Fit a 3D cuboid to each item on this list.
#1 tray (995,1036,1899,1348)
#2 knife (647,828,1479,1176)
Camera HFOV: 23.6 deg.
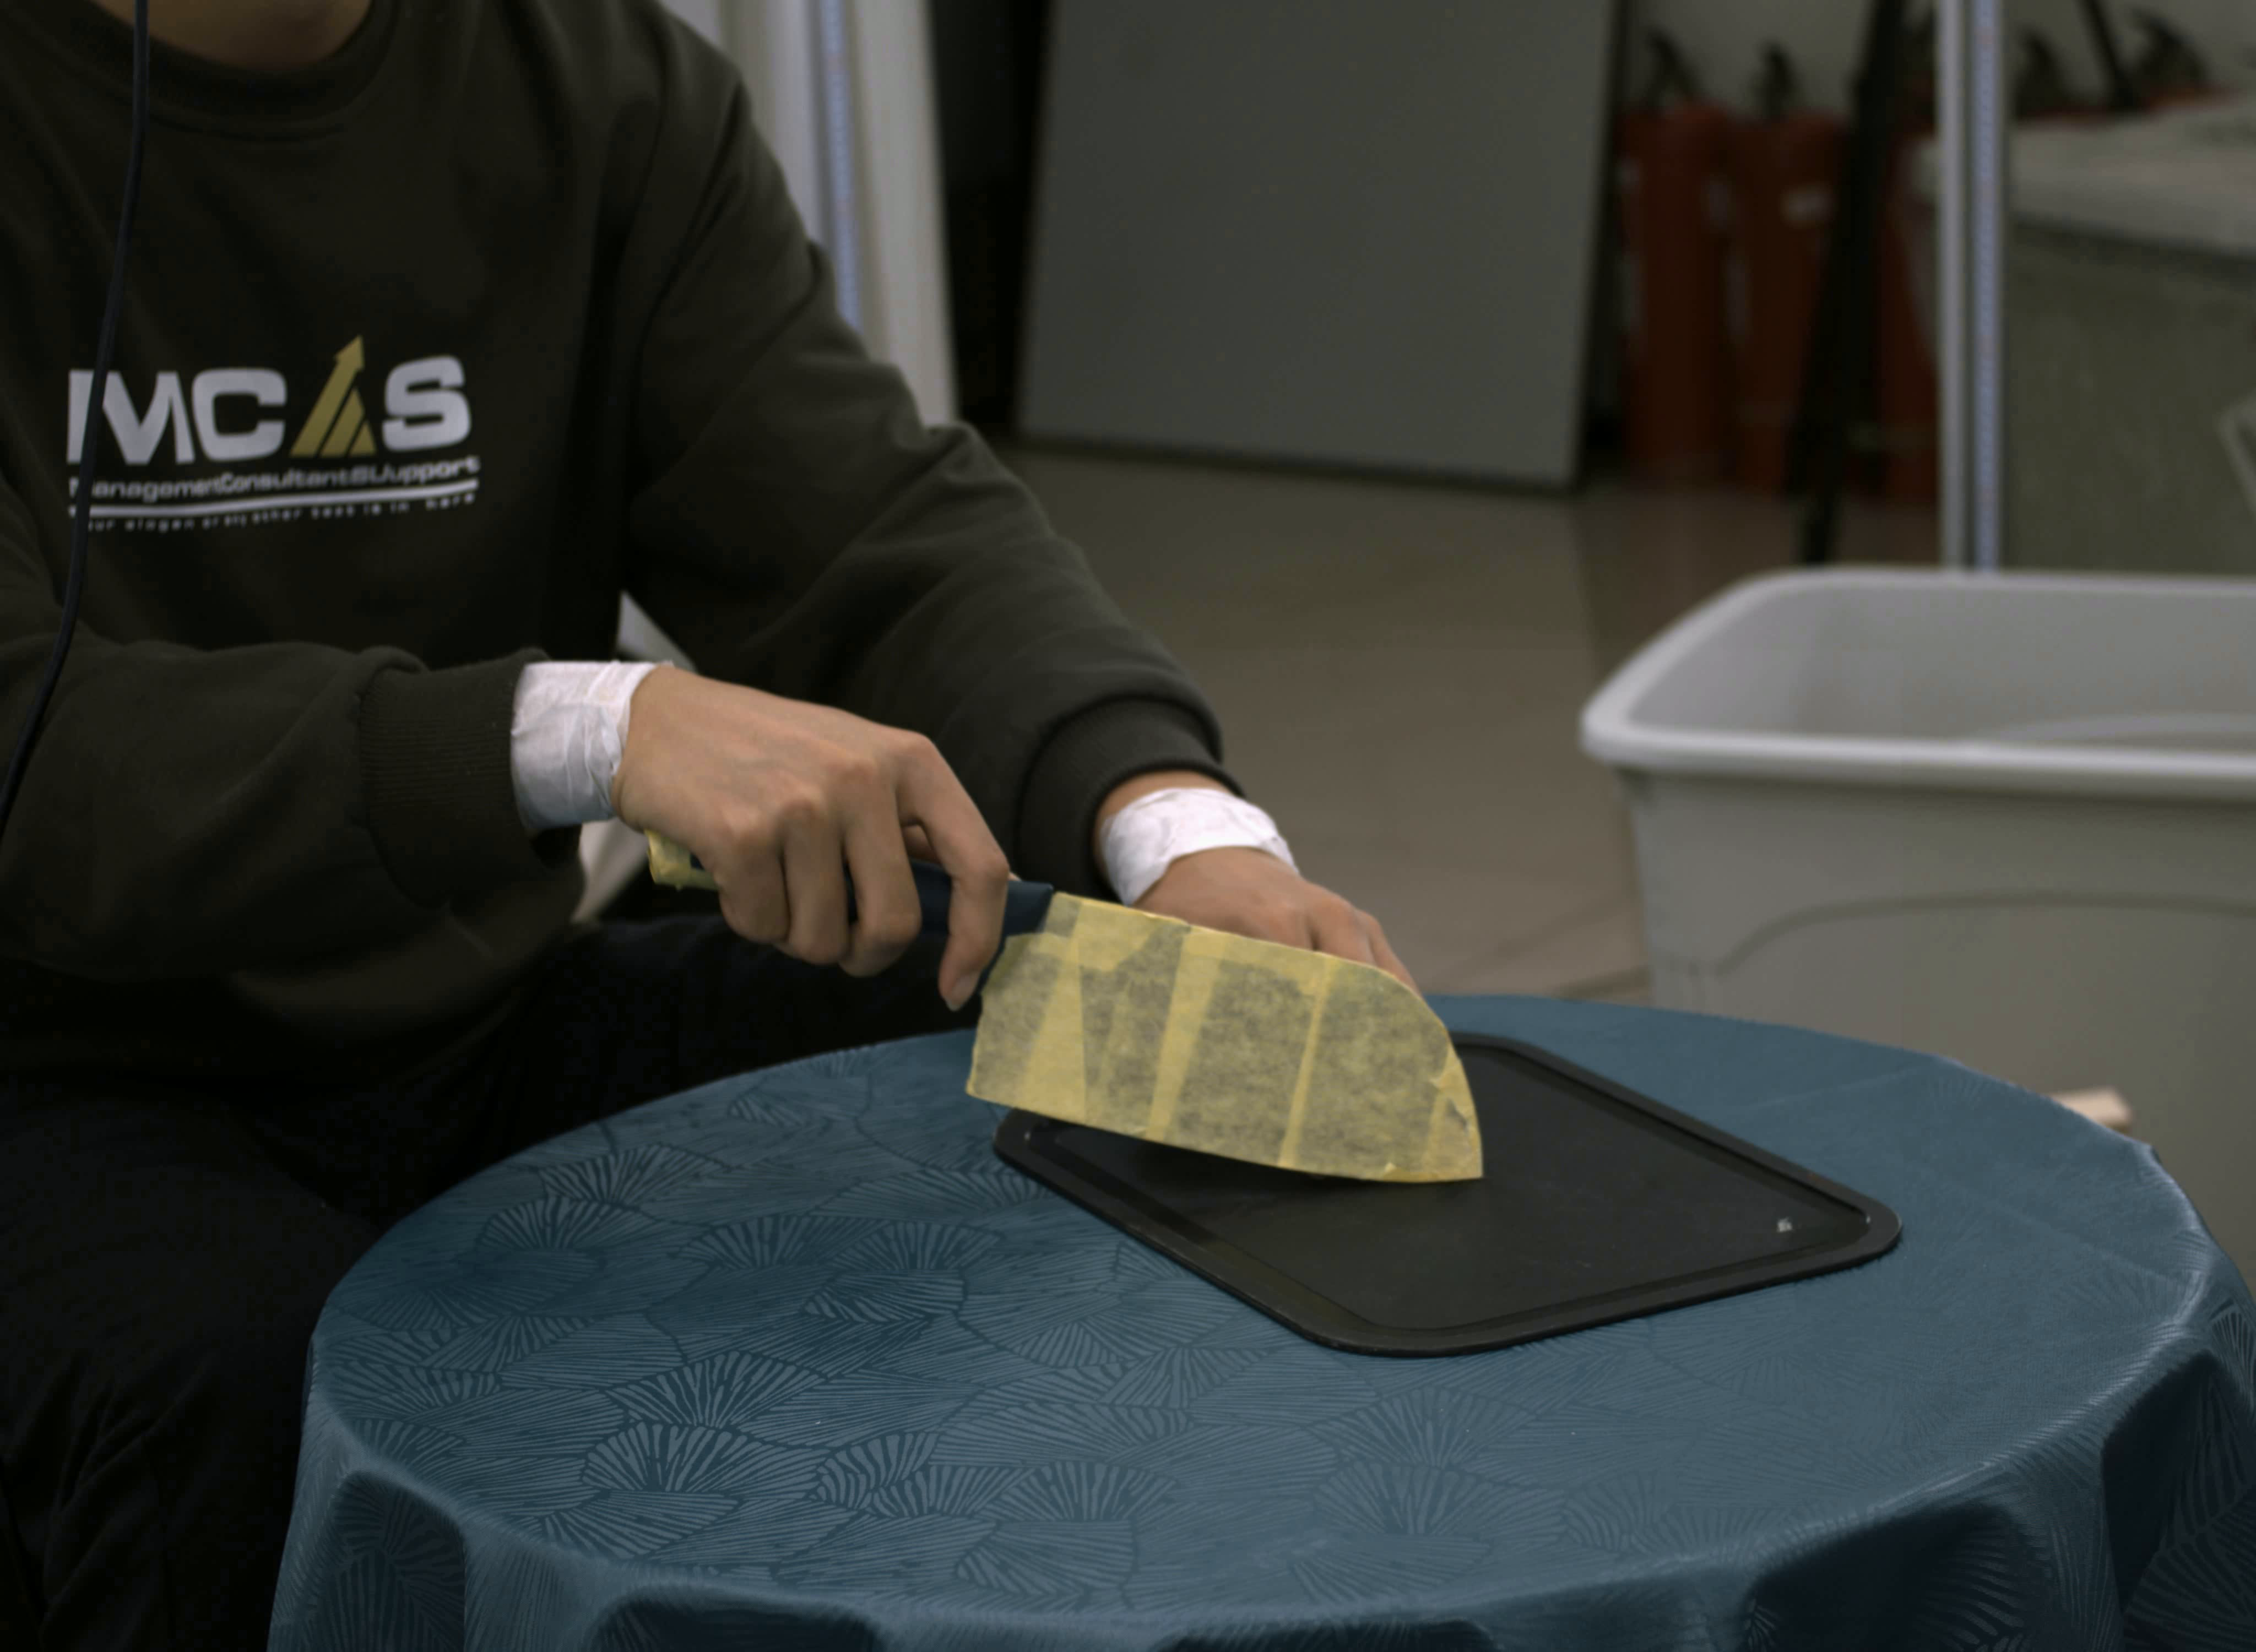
[{"bbox_3d":[0.093,0.113,1.765,0.206,0.010,0.329,-10,15,-24],"label":"tray"},{"bbox_3d":[-0.022,0.056,1.759,0.286,0.082,0.027,16,-9,2],"label":"knife"}]
